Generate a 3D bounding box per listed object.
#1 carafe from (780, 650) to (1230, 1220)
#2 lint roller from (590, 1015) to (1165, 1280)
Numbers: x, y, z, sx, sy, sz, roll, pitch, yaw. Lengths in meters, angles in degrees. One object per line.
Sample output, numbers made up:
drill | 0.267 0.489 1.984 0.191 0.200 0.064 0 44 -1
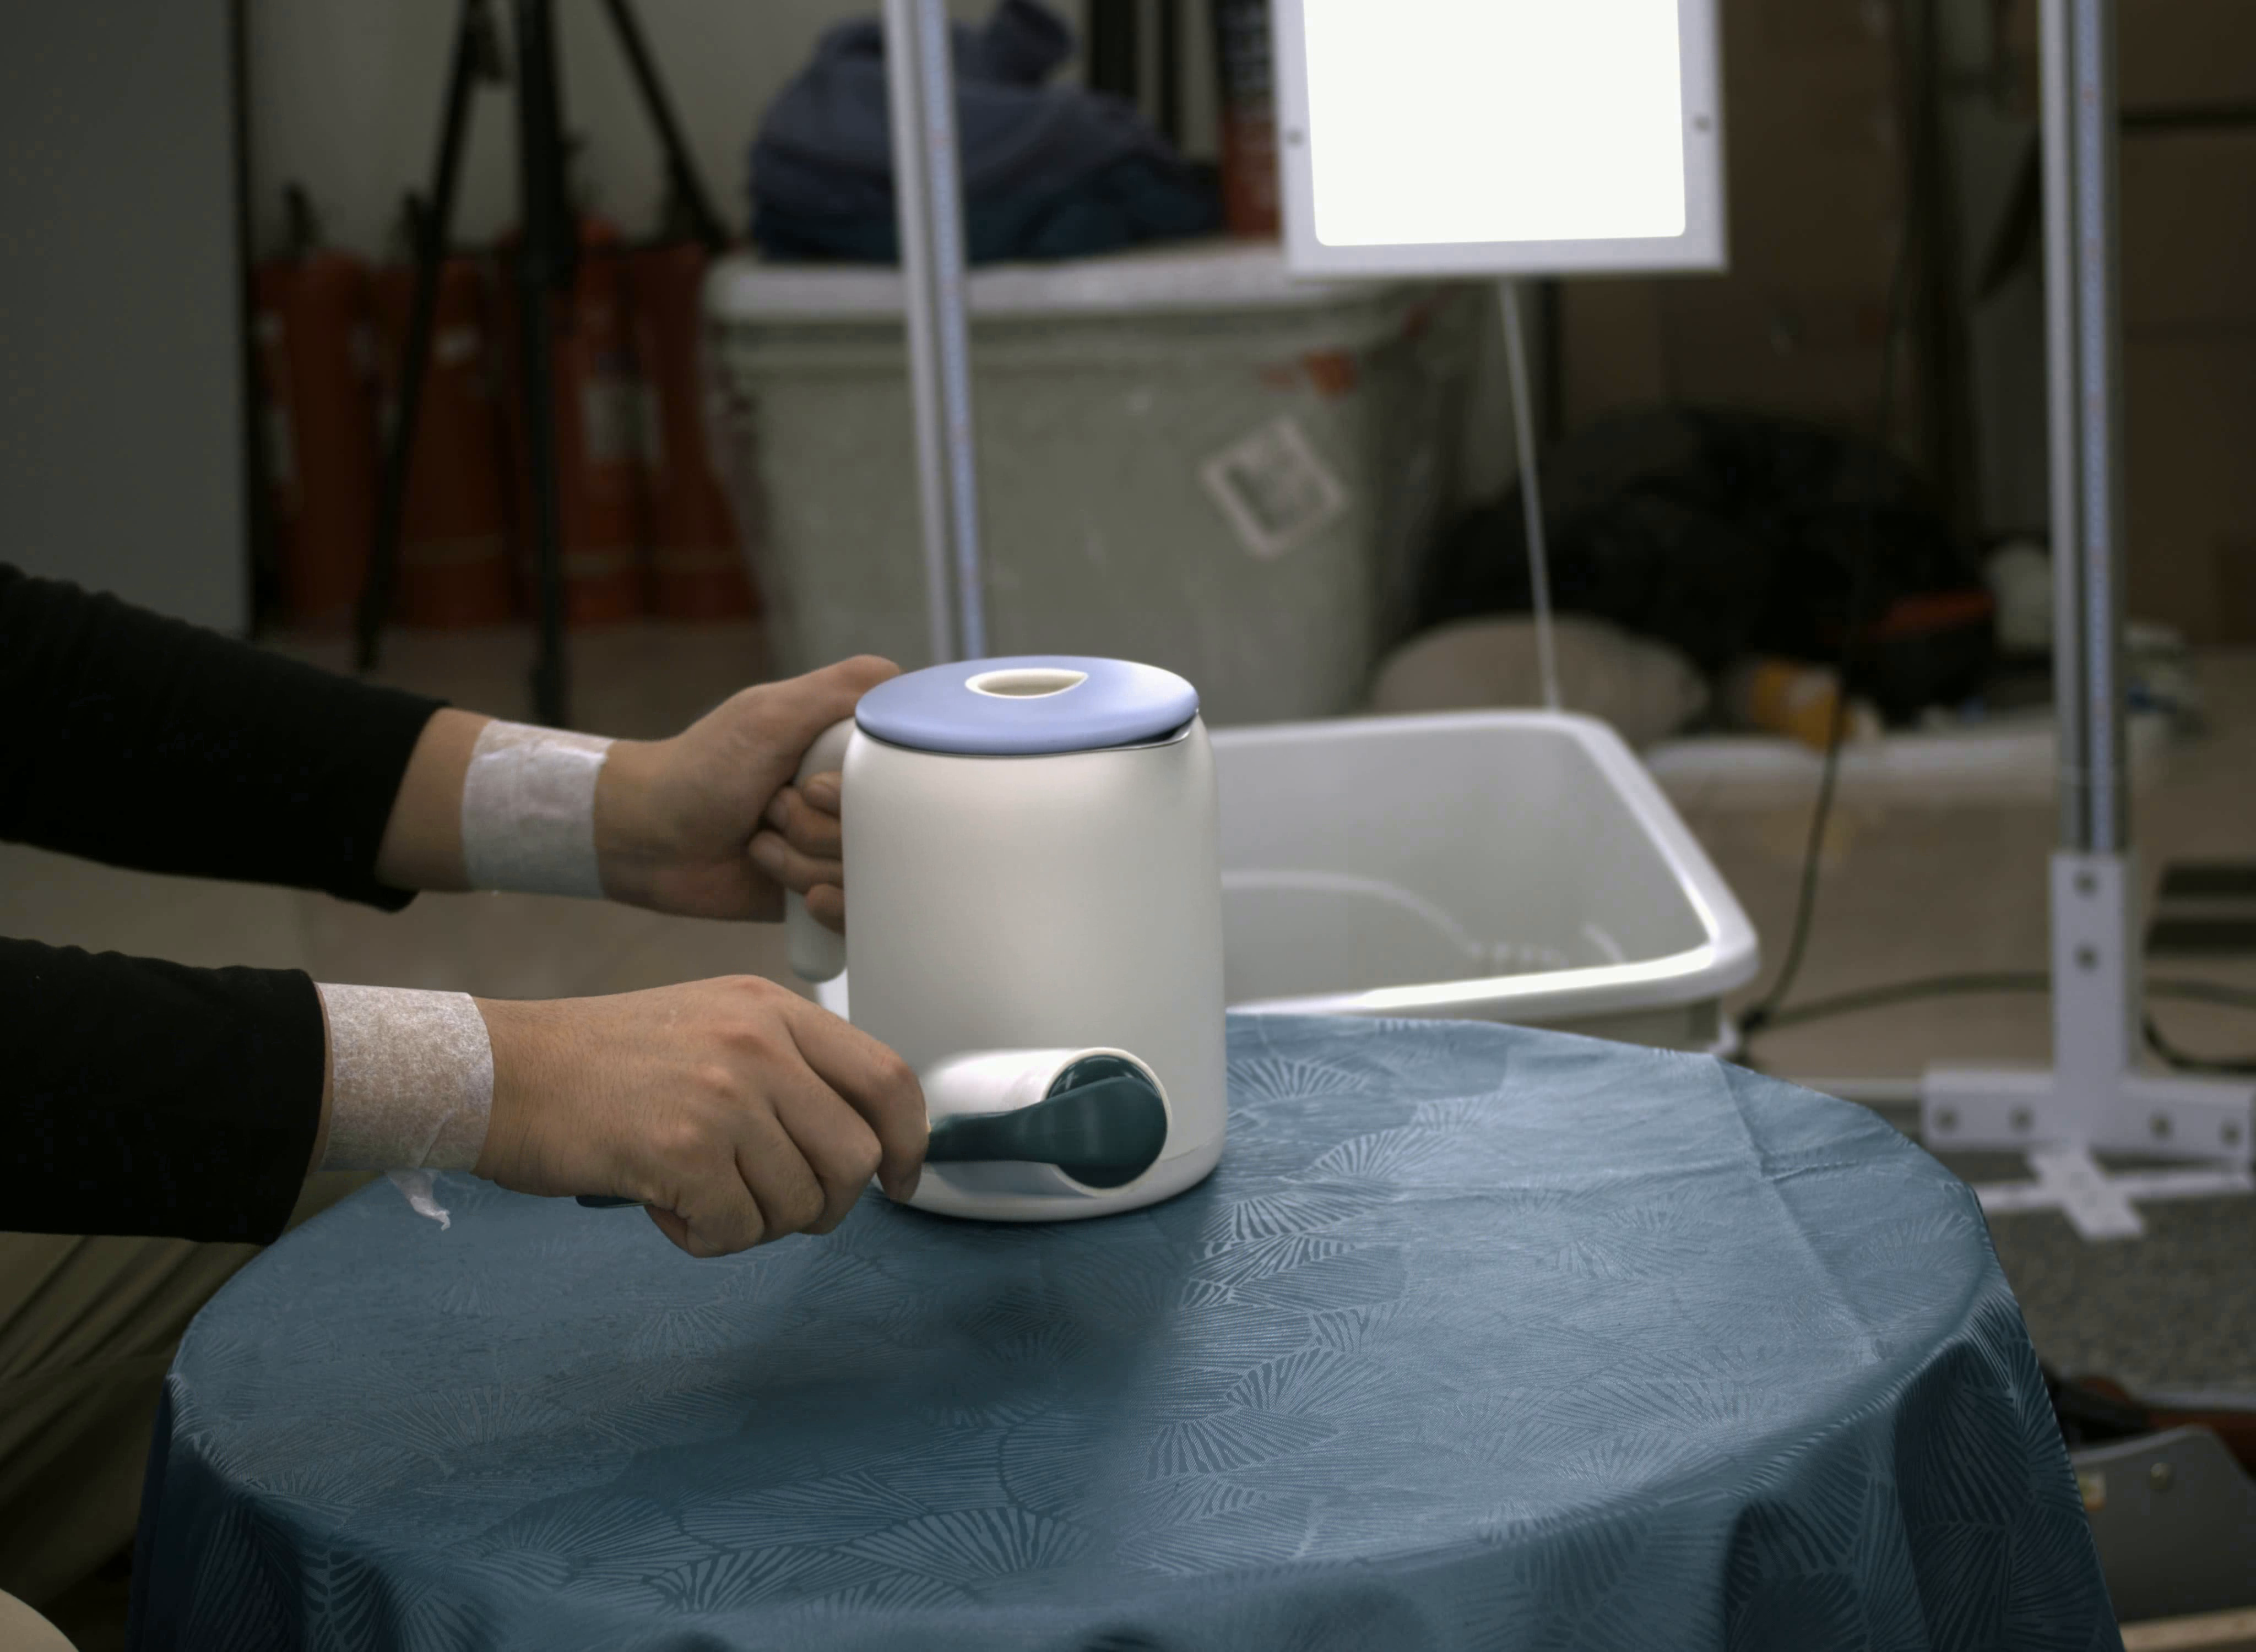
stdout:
carafe | -0.050 0.034 1.921 0.195 0.183 0.129 9 18 43
lint roller | -0.089 0.100 1.739 0.176 0.048 0.136 -12 7 -23
